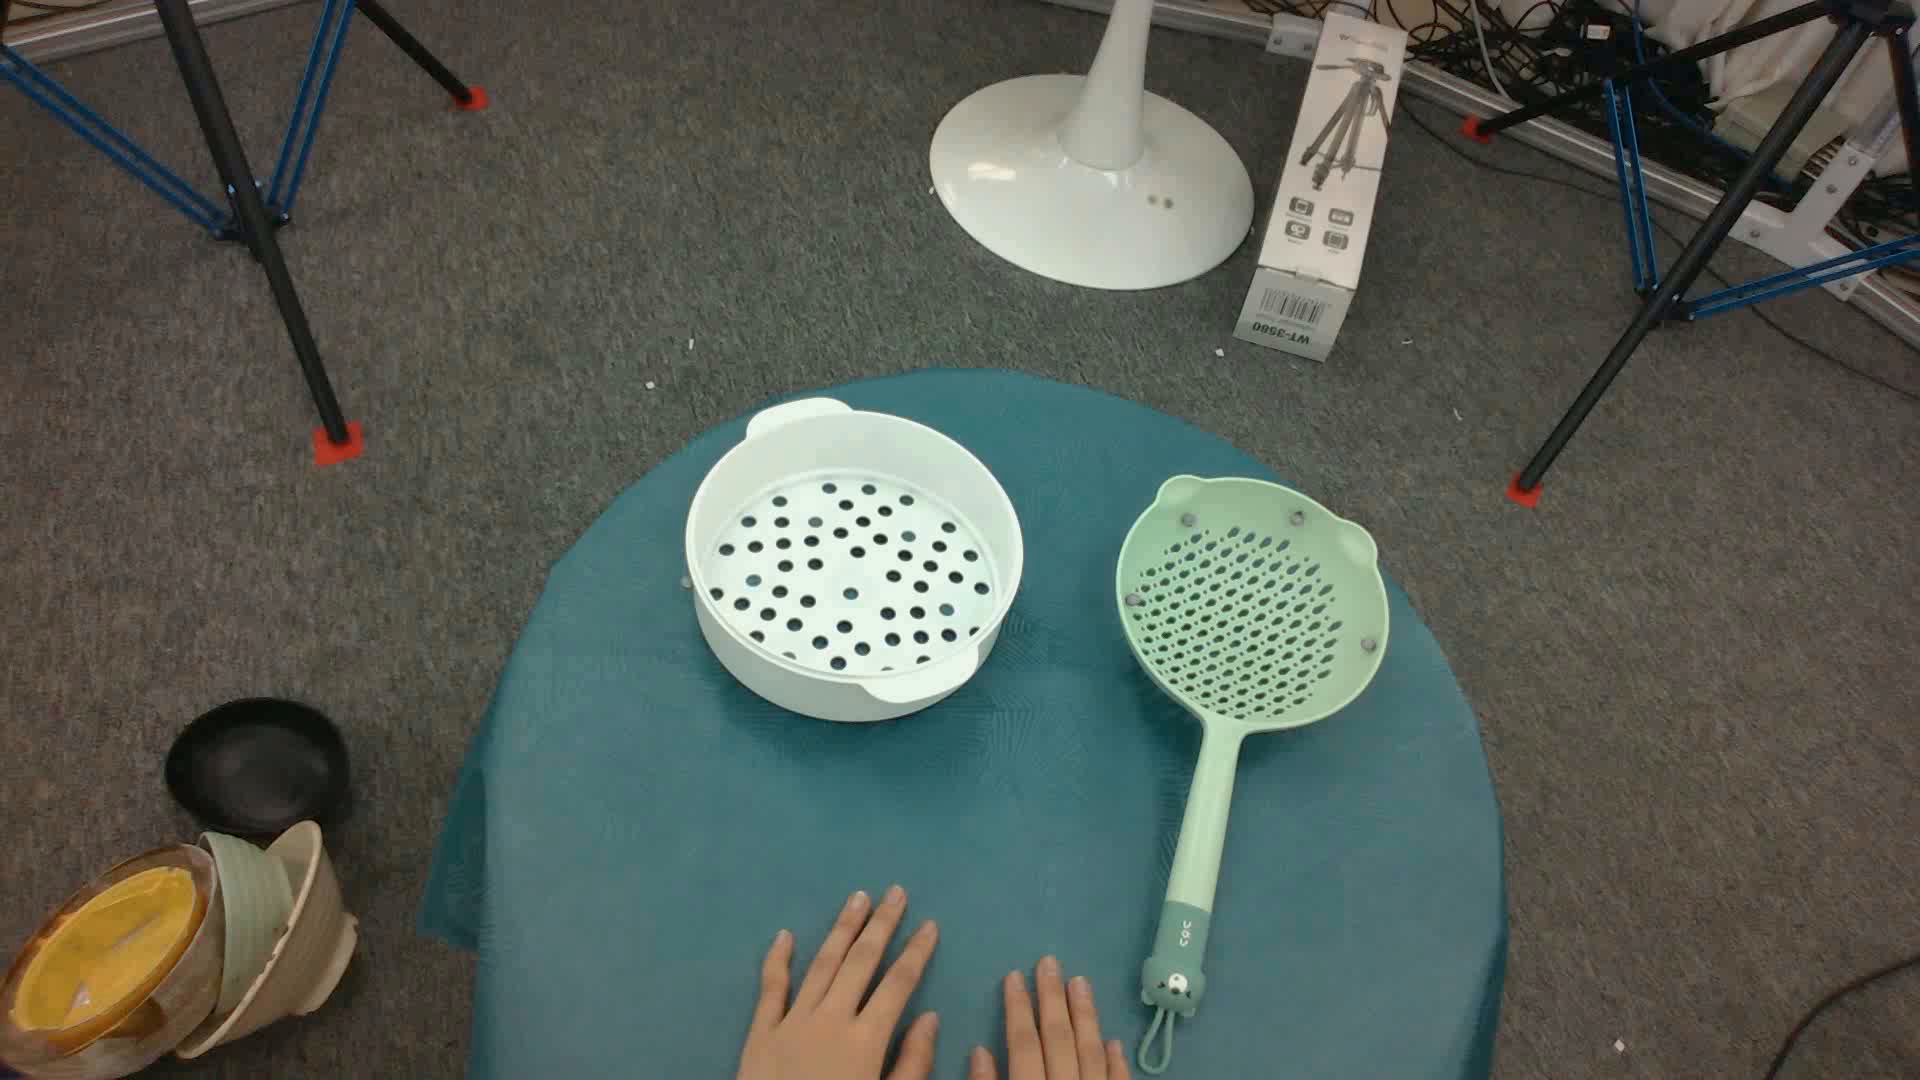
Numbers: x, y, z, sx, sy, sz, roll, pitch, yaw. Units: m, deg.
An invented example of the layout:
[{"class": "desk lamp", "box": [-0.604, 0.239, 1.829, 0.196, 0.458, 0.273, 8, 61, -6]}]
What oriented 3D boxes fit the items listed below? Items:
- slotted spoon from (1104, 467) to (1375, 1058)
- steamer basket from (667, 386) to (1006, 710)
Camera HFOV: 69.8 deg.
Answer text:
[{"class": "slotted spoon", "box": [0.143, 0.115, 0.800, 0.169, 0.075, 0.360, 17, 52, 3]}, {"class": "steamer basket", "box": [-0.075, 0.008, 0.842, 0.202, 0.069, 0.231, -17, 58, -21]}]
